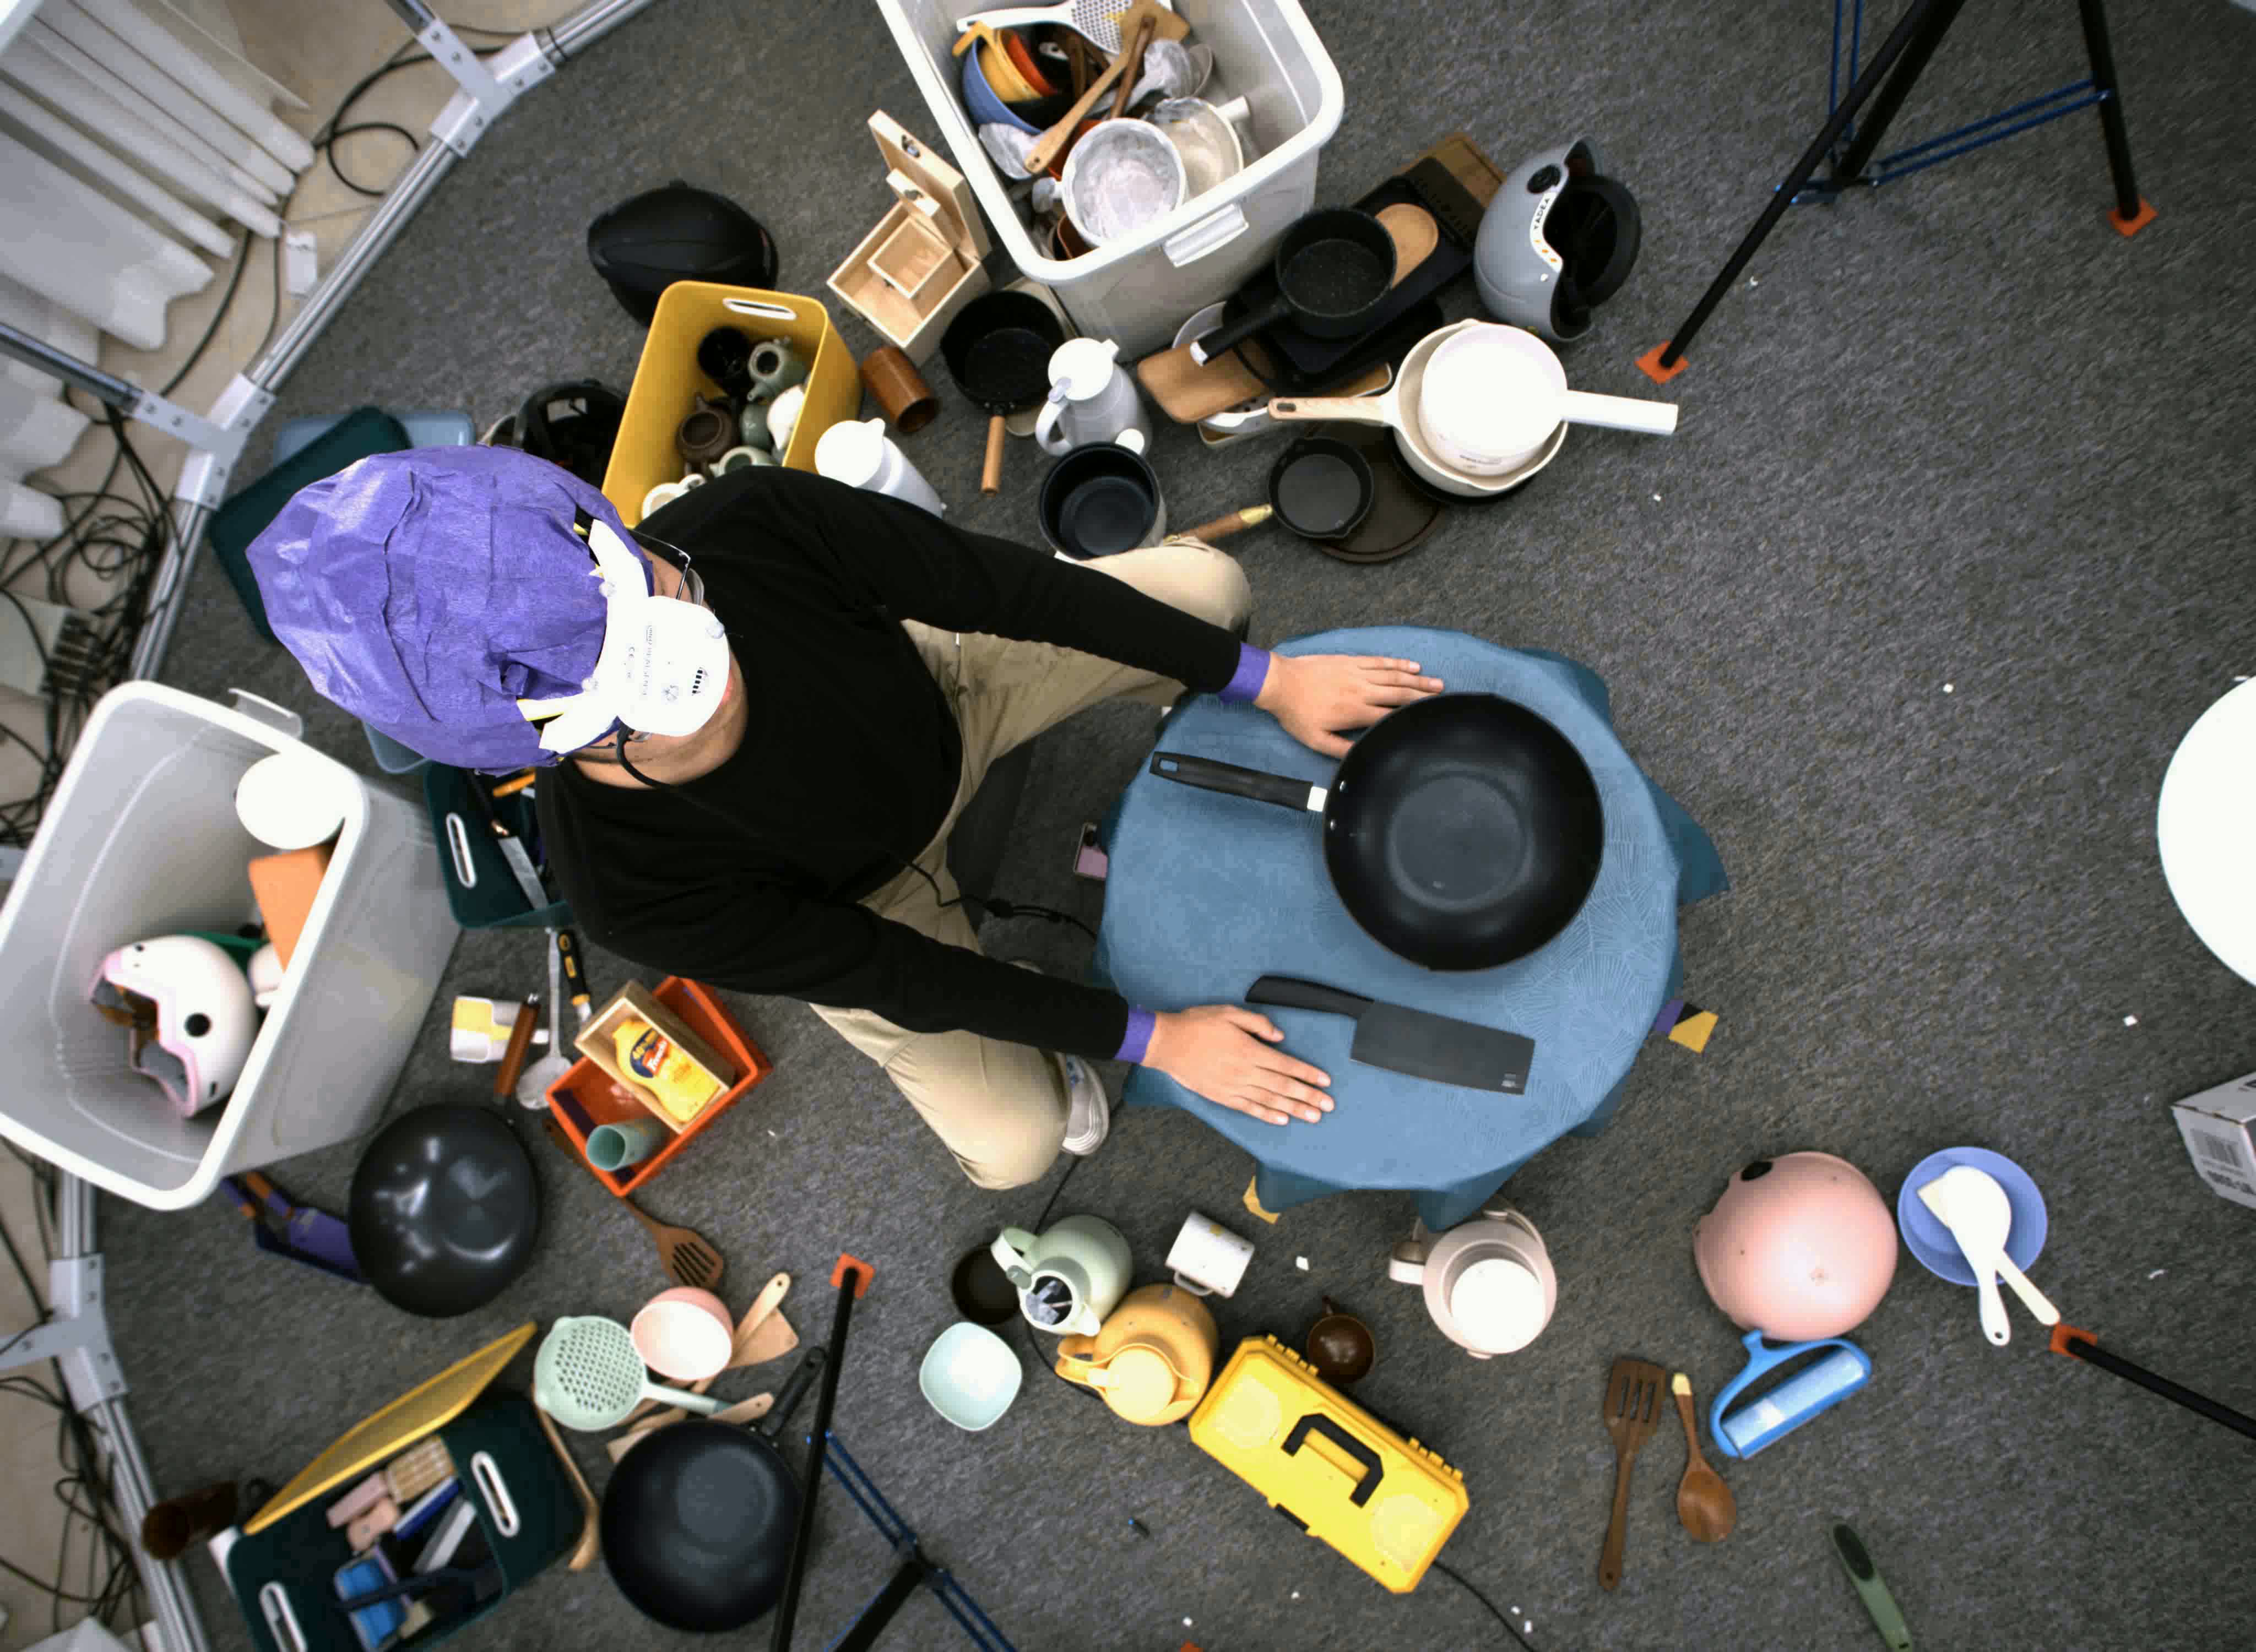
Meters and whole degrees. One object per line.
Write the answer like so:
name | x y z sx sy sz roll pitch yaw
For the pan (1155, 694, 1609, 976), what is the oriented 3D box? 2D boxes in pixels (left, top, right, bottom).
pan | 0.254 -0.012 1.427 0.464 0.087 0.288 14 90 12

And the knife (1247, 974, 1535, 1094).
knife | 0.272 0.212 1.447 0.302 0.021 0.081 17 92 9
